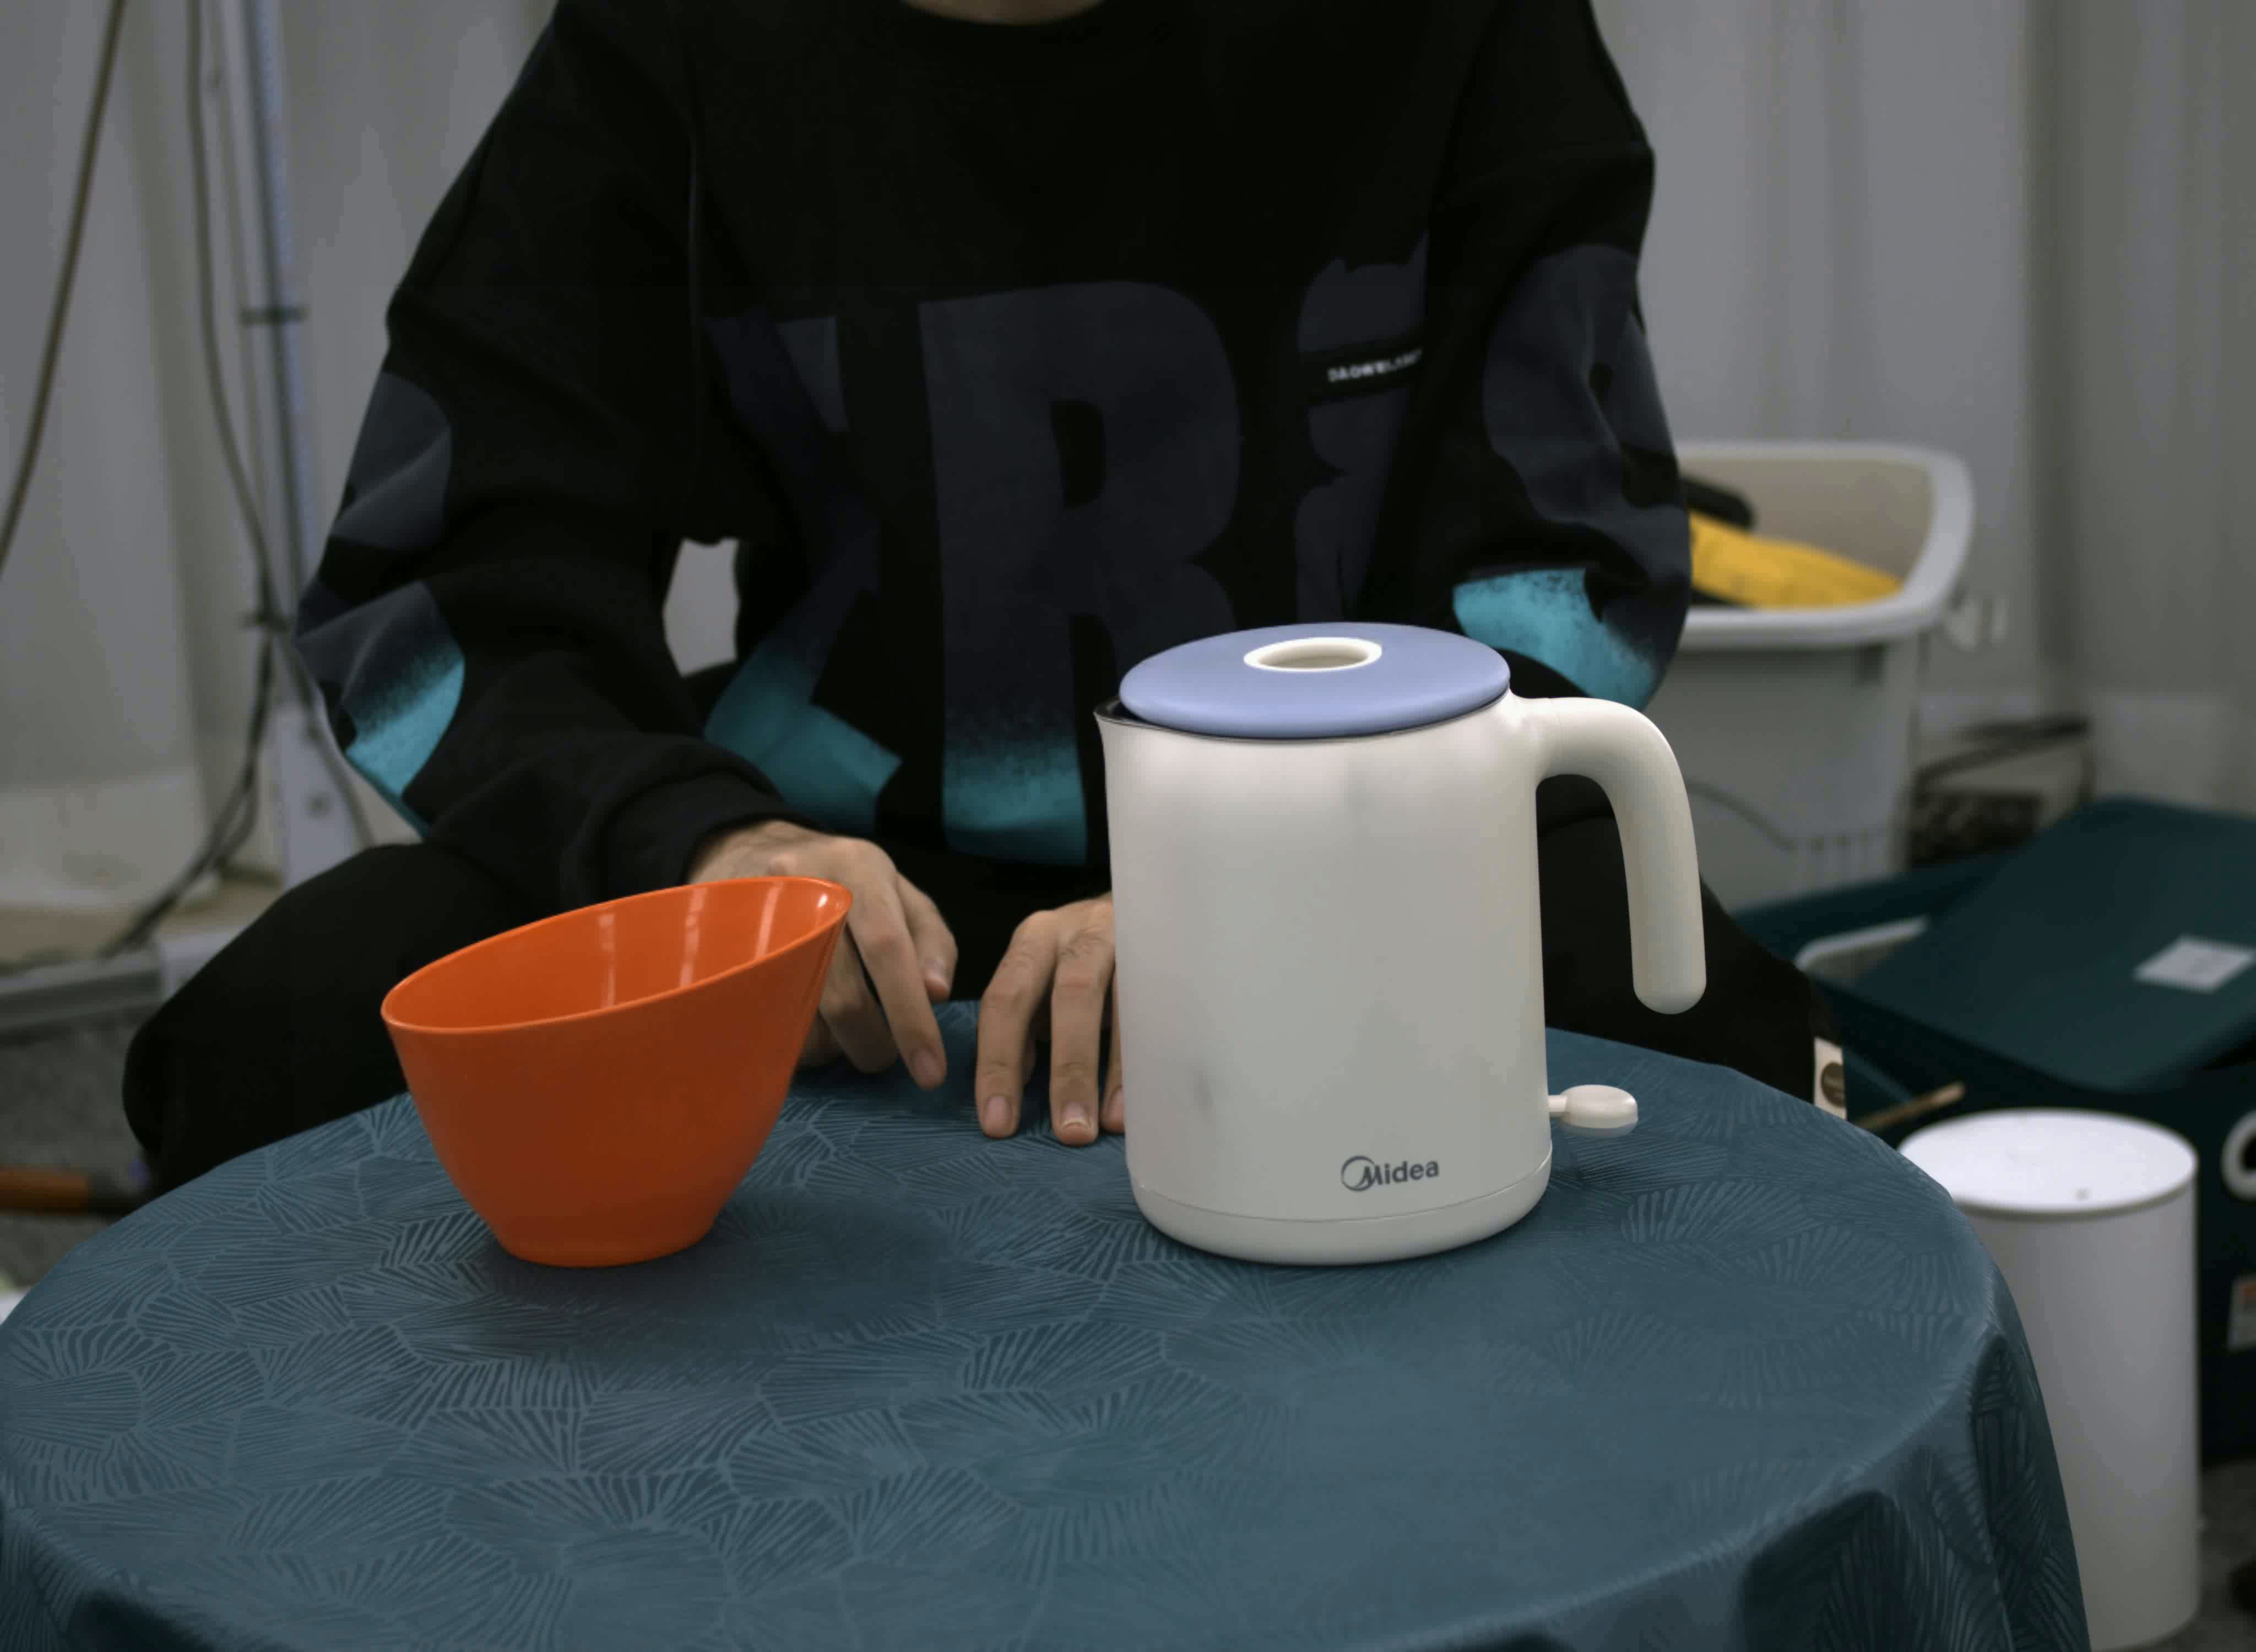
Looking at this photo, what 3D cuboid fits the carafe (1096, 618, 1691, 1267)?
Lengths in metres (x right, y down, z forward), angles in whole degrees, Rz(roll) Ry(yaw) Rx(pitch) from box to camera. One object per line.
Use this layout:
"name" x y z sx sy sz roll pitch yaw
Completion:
"carafe" 0.083 0.032 1.678 0.190 0.182 0.133 -4 15 -13

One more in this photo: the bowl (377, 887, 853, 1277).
"bowl" -0.156 0.080 1.684 0.147 0.104 0.149 -3 14 0
